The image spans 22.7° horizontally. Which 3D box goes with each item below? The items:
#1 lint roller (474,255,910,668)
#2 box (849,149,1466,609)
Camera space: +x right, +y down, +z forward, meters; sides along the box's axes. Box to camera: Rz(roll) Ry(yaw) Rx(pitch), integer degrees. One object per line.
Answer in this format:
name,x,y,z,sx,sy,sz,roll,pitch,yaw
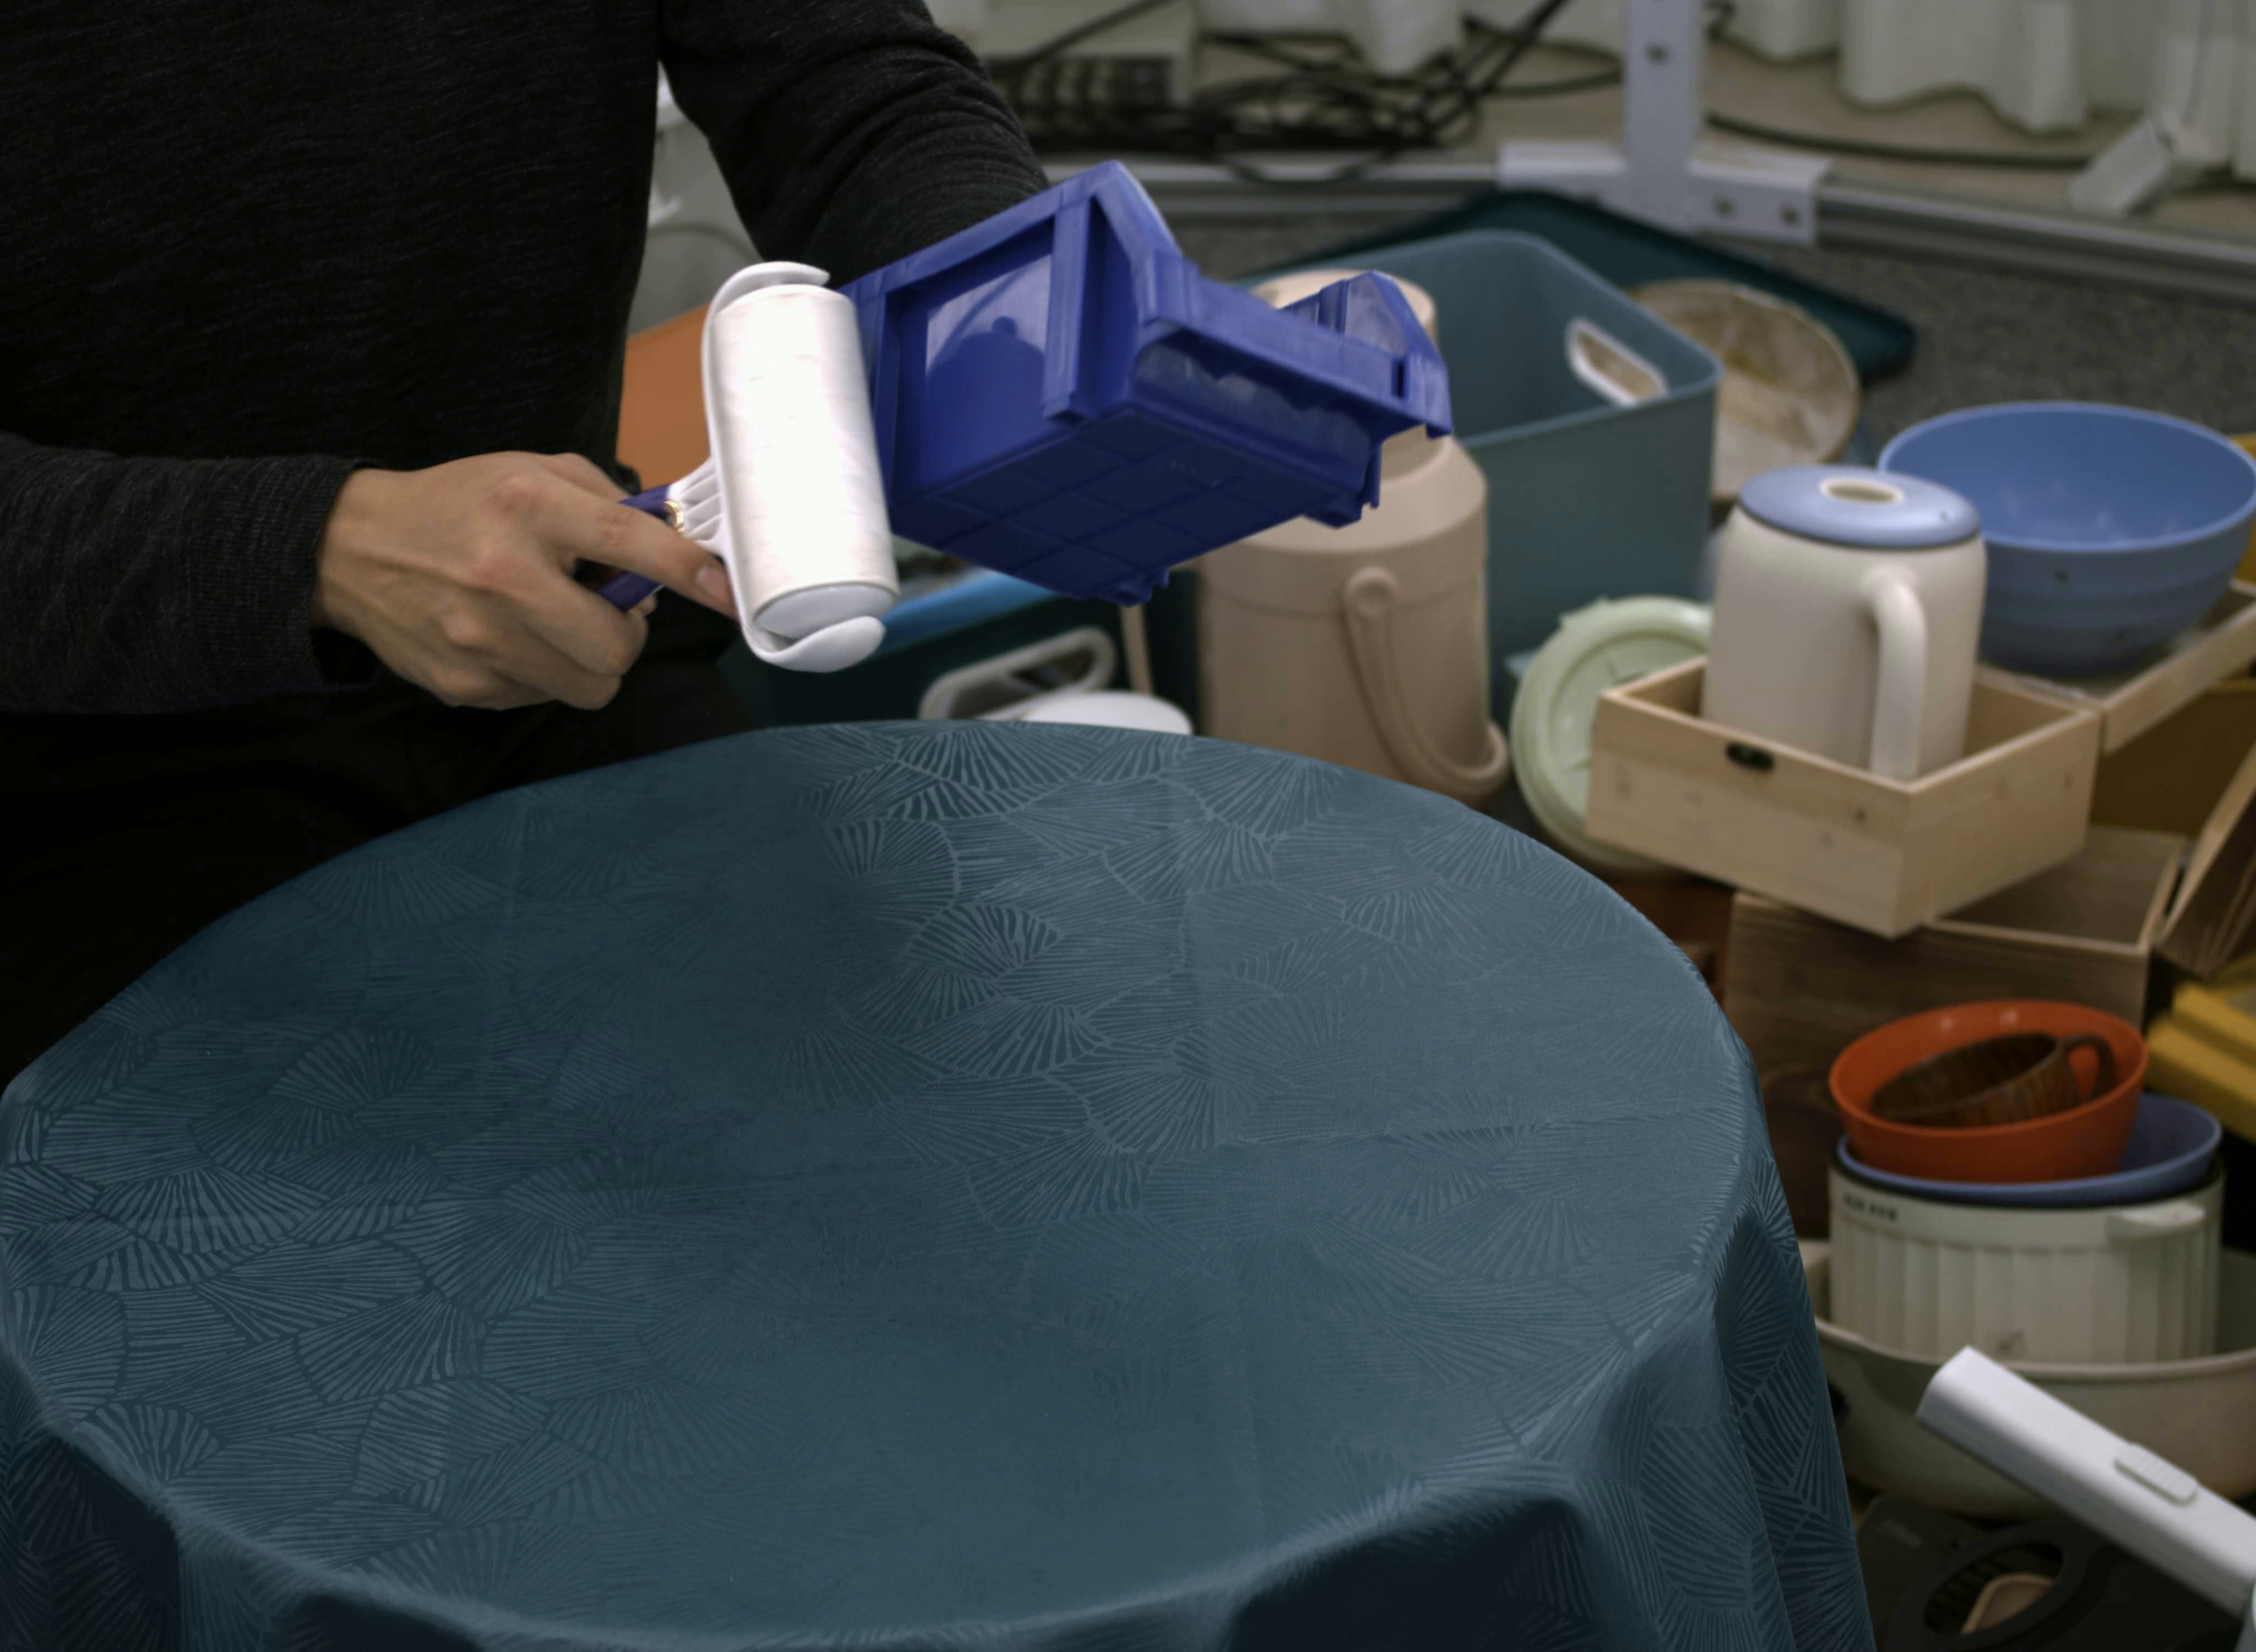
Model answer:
lint roller,-0.151,-0.099,1.803,0.178,0.134,0.050,-17,-19,29
box,0.006,-0.140,1.789,0.124,0.083,0.177,19,-27,-35
